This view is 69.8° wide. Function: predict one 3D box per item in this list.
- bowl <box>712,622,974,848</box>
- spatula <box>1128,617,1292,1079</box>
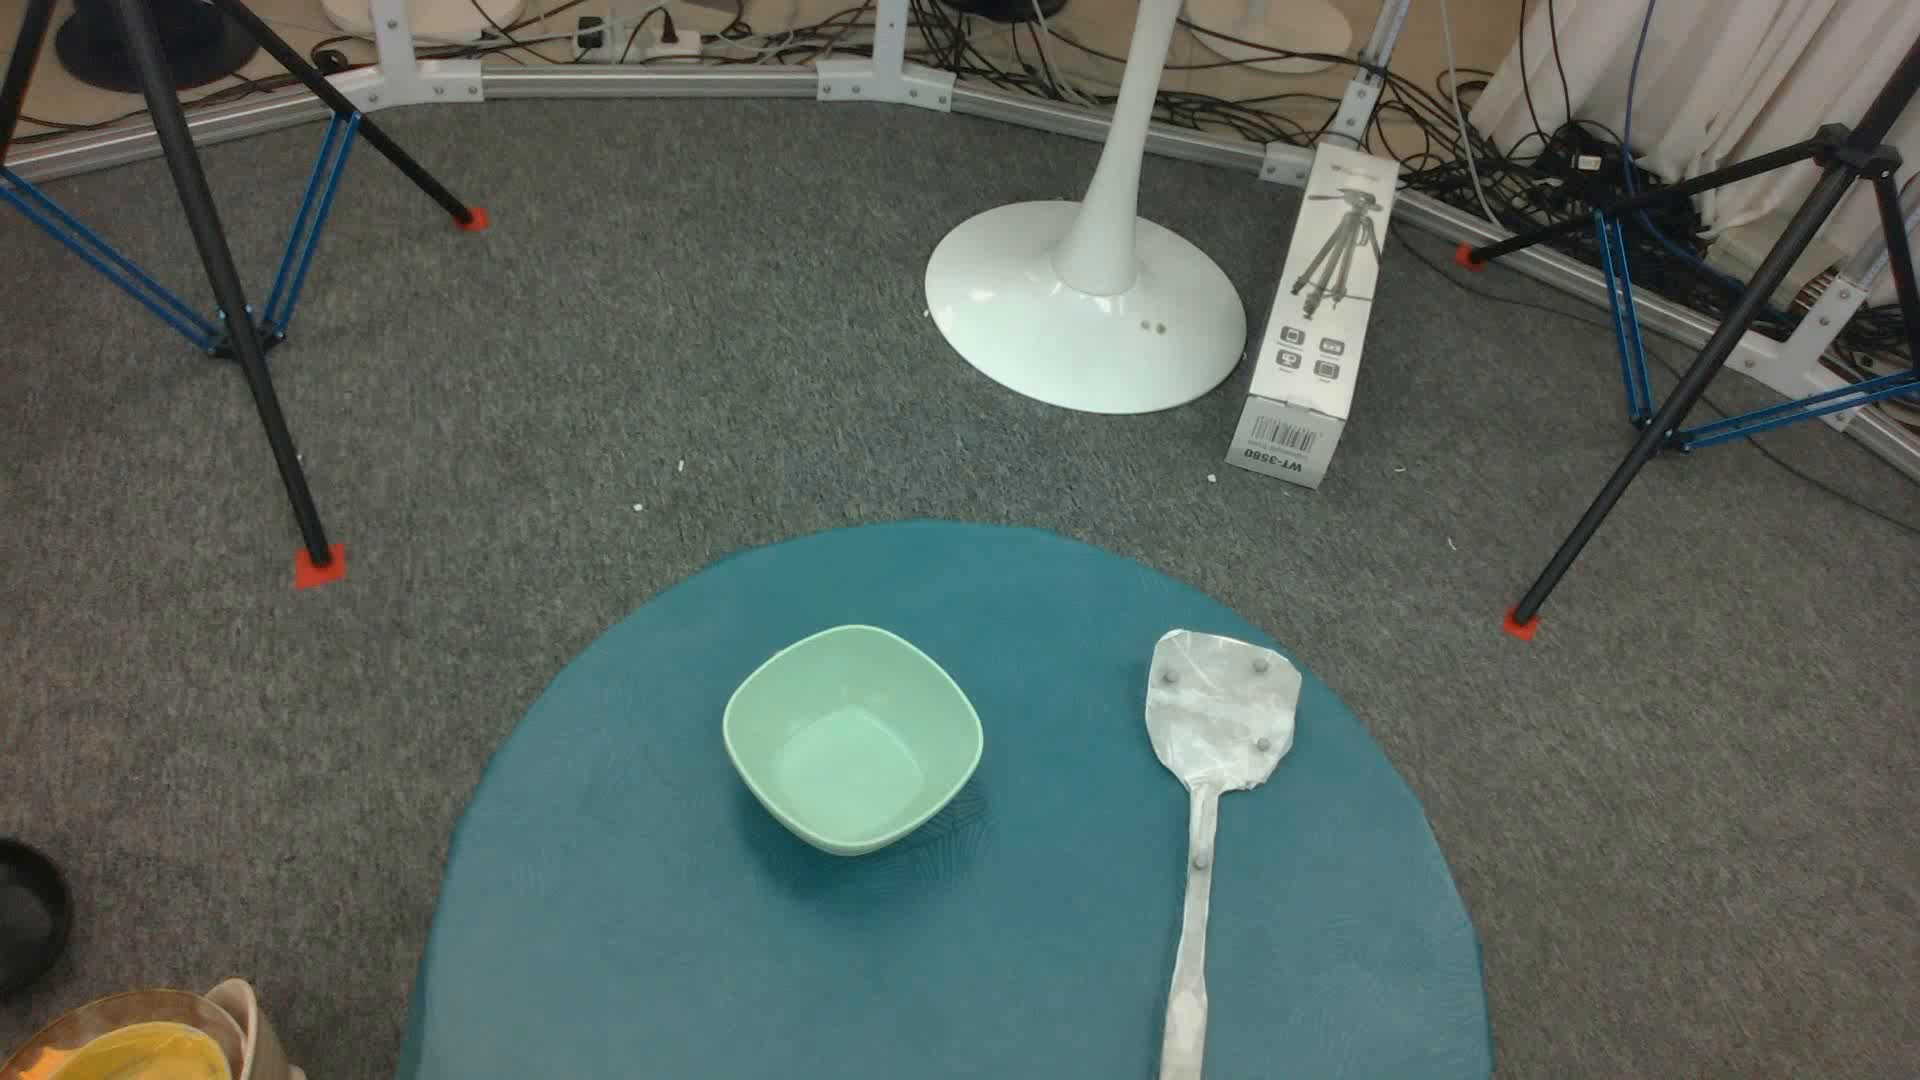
[{"bbox_3d":[-0.070,0.124,0.814,0.151,0.058,0.152,5,46,-5],"label":"bowl"},{"bbox_3d":[0.130,0.199,0.799,0.099,0.044,0.367,17,48,1],"label":"spatula"}]
